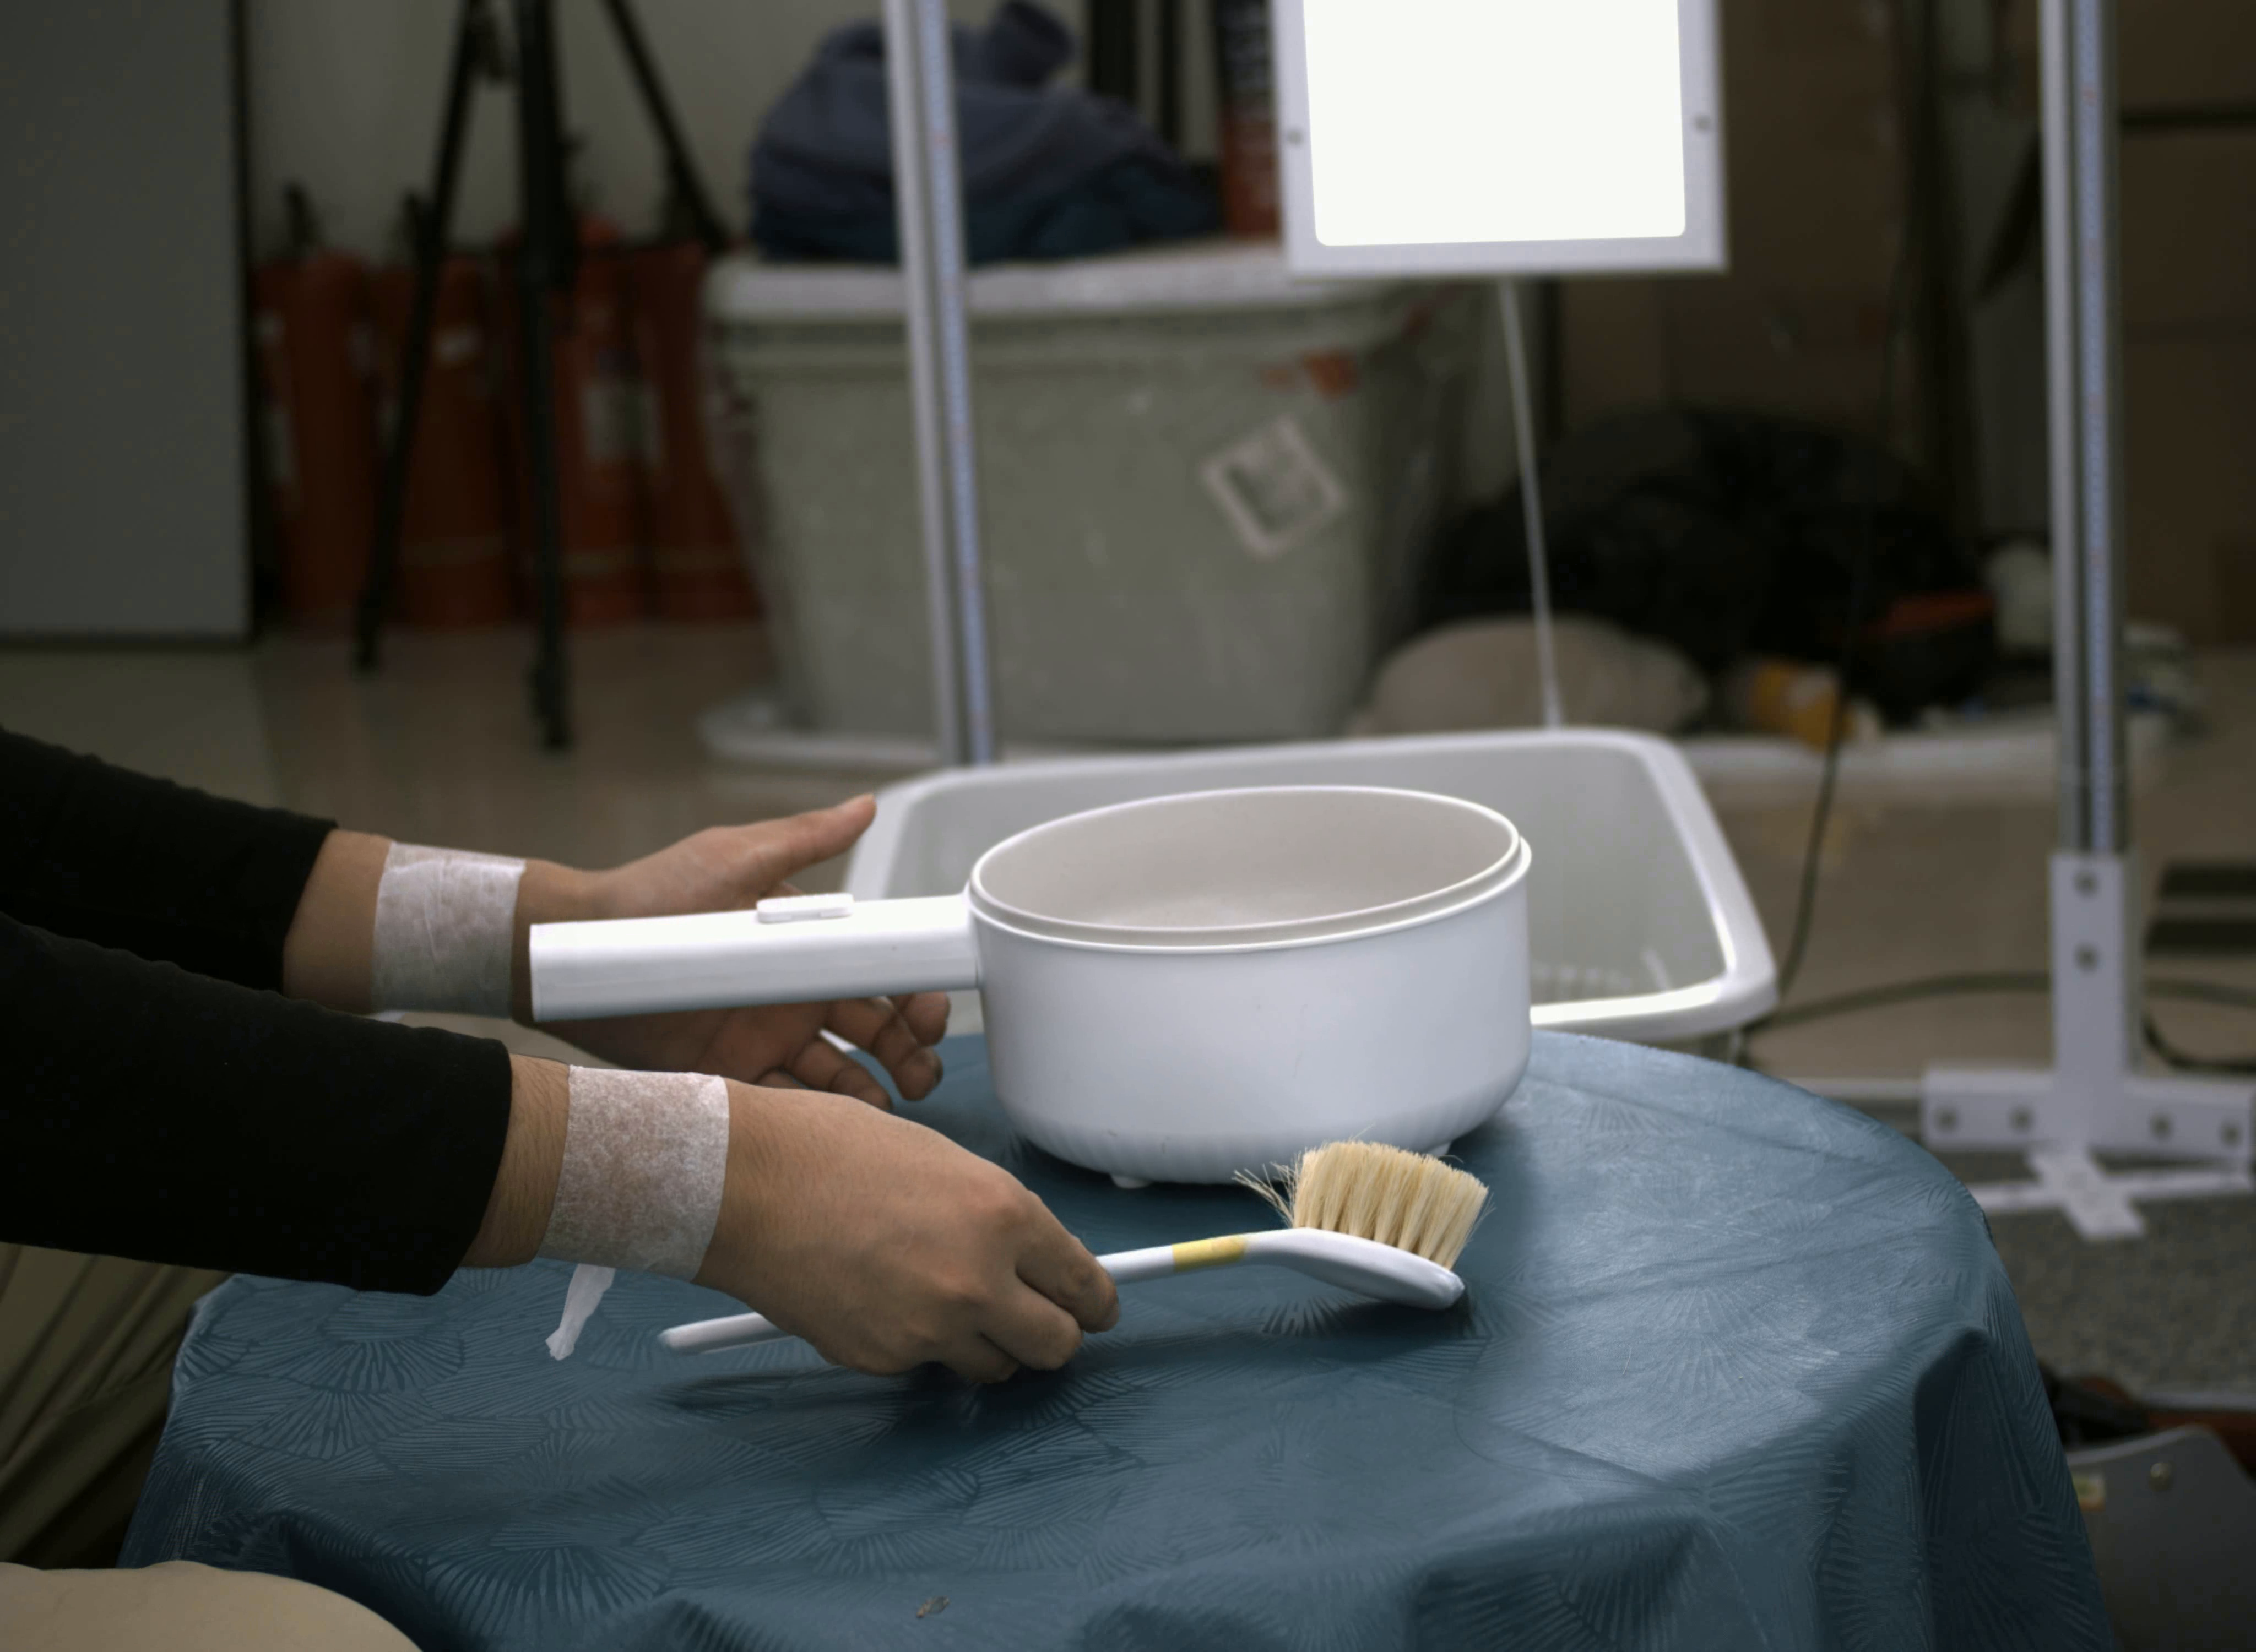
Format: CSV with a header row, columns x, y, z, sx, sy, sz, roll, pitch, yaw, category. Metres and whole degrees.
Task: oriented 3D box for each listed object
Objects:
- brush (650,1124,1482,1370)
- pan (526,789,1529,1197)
x,y,z,sx,sy,sz,roll,pitch,yaw,category
-0.020,0.132,1.734,0.266,0.056,0.068,-5,-18,1,brush
-0.032,0.069,1.945,0.353,0.102,0.201,-6,15,-1,pan
